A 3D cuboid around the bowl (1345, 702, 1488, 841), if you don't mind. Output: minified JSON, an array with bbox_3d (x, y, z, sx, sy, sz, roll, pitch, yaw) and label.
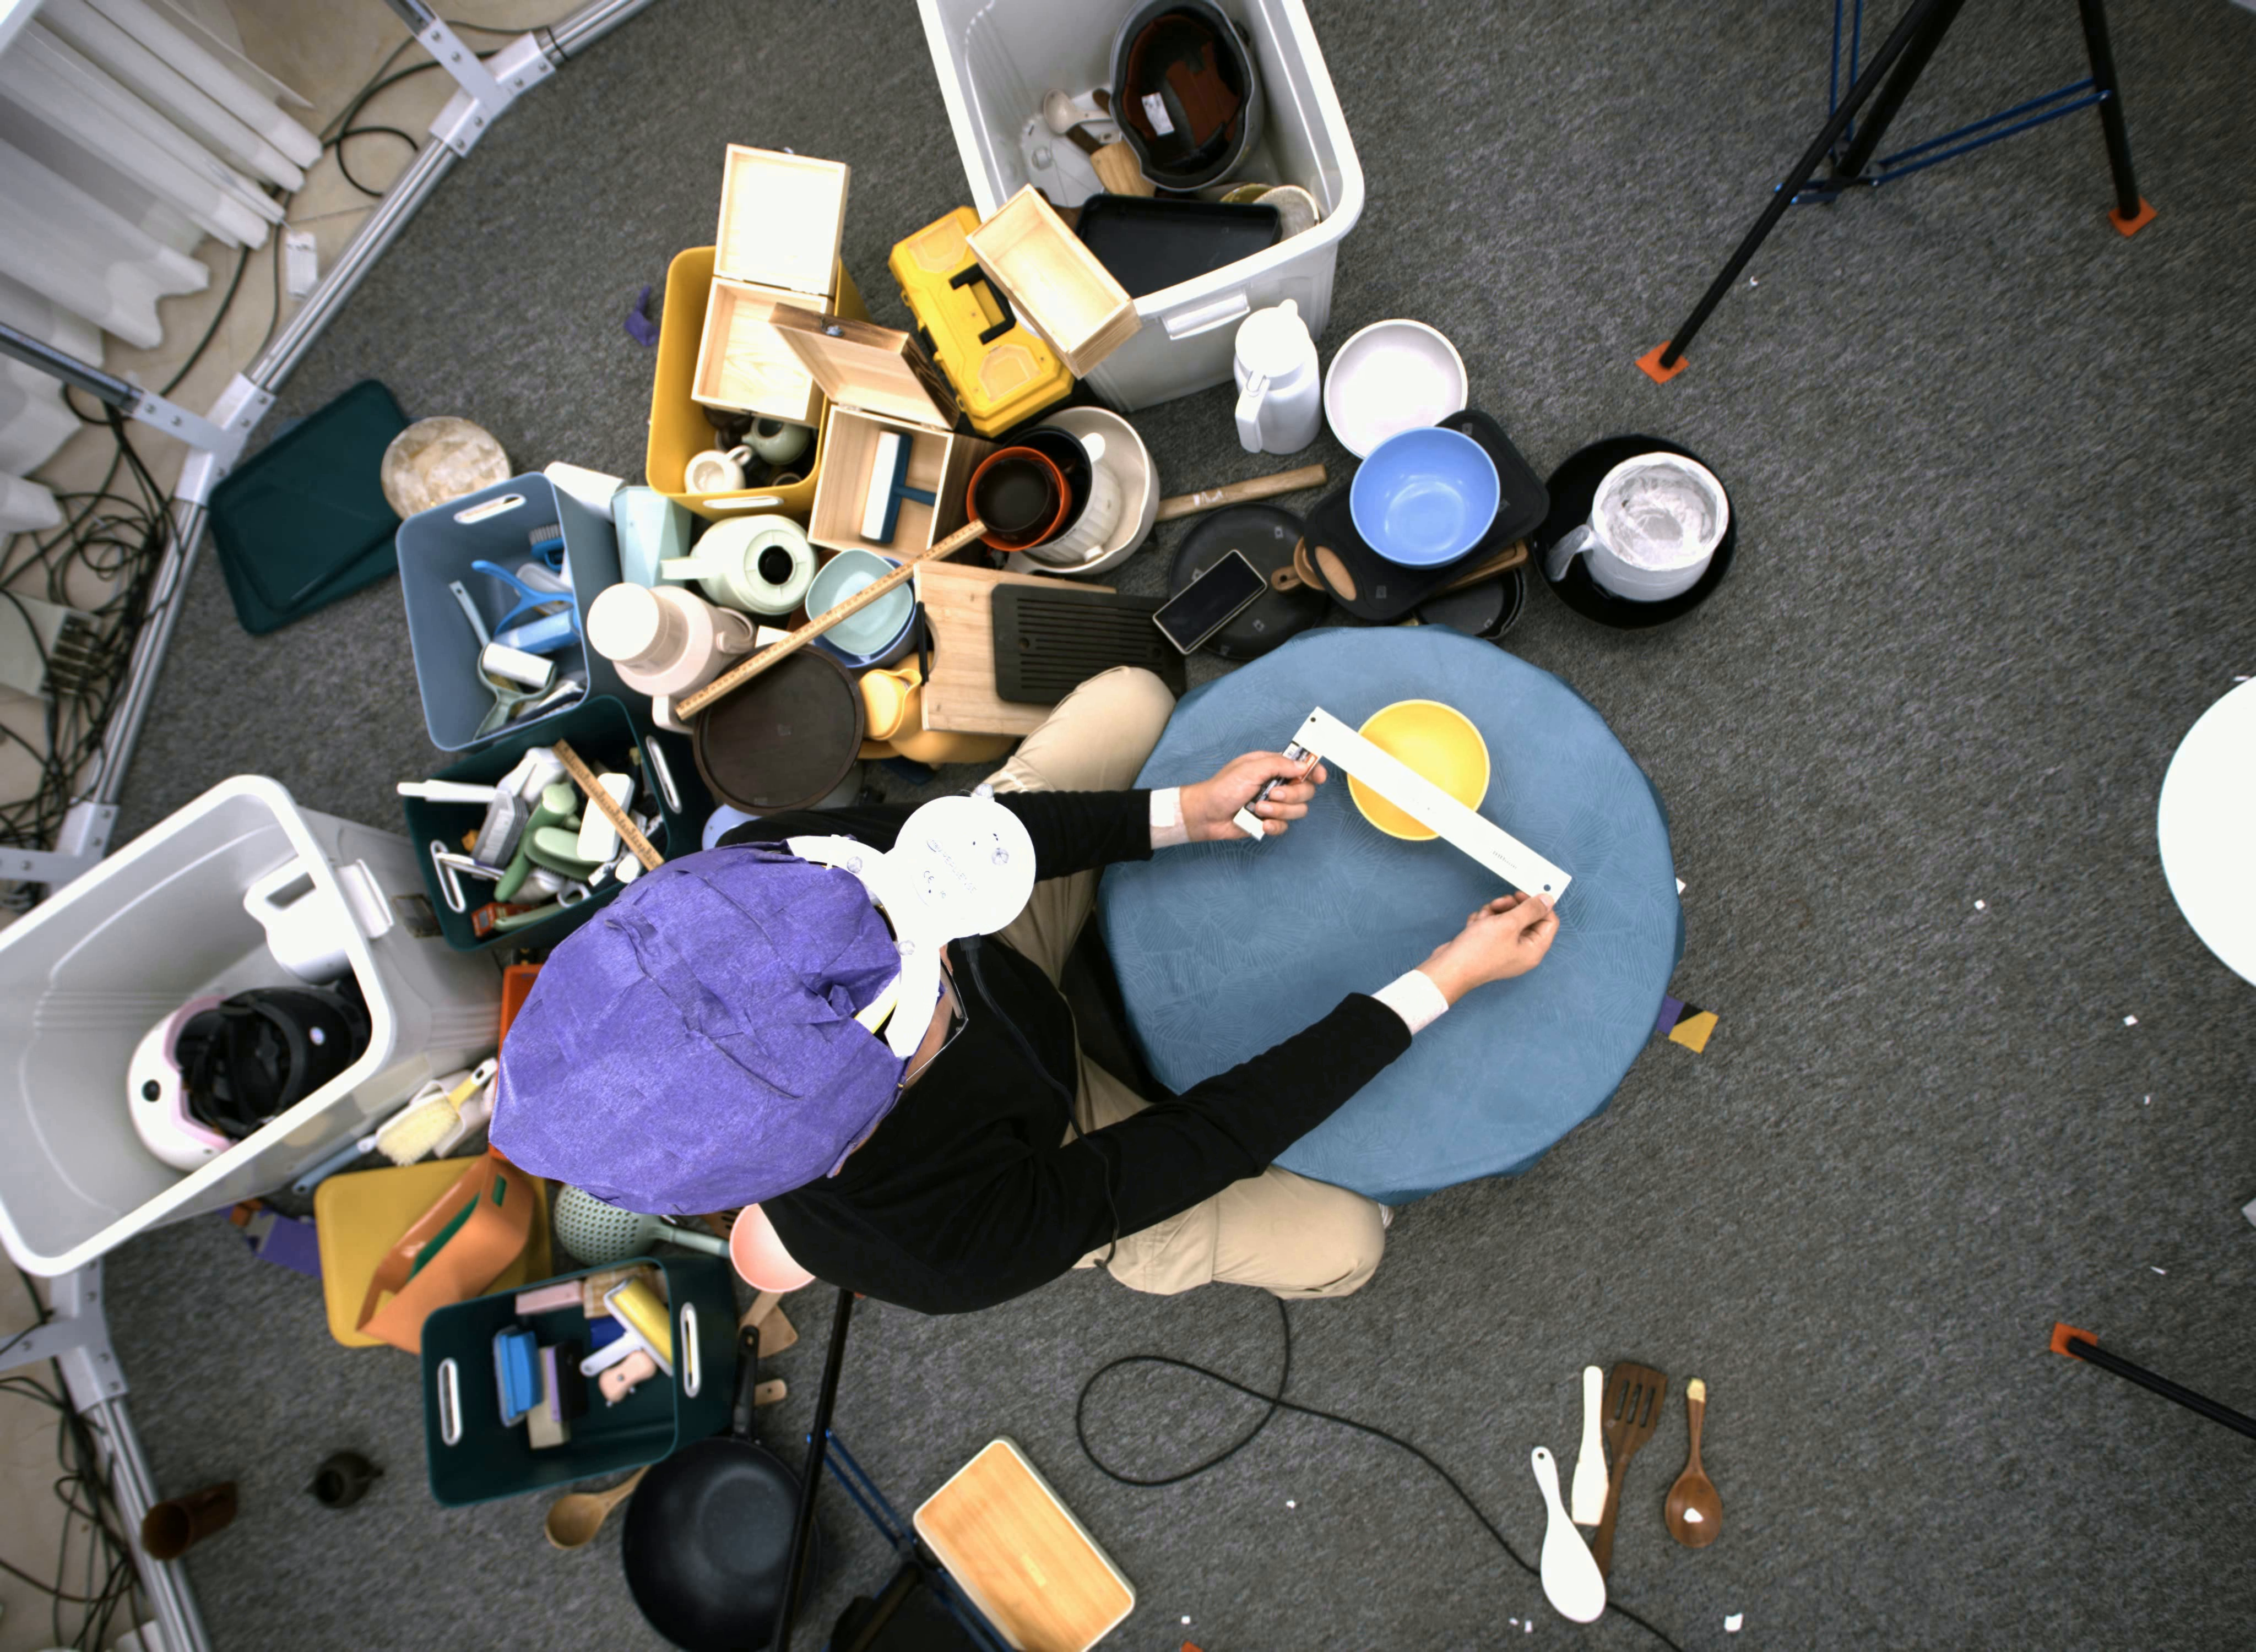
[{"bbox_3d":[0.301,-0.054,1.434,0.146,0.060,0.144,-1,85,13],"label":"bowl"}]

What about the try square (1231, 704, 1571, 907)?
[{"bbox_3d":[0.273,0.019,1.389,0.312,0.016,0.151,35,86,9],"label":"try square"}]
